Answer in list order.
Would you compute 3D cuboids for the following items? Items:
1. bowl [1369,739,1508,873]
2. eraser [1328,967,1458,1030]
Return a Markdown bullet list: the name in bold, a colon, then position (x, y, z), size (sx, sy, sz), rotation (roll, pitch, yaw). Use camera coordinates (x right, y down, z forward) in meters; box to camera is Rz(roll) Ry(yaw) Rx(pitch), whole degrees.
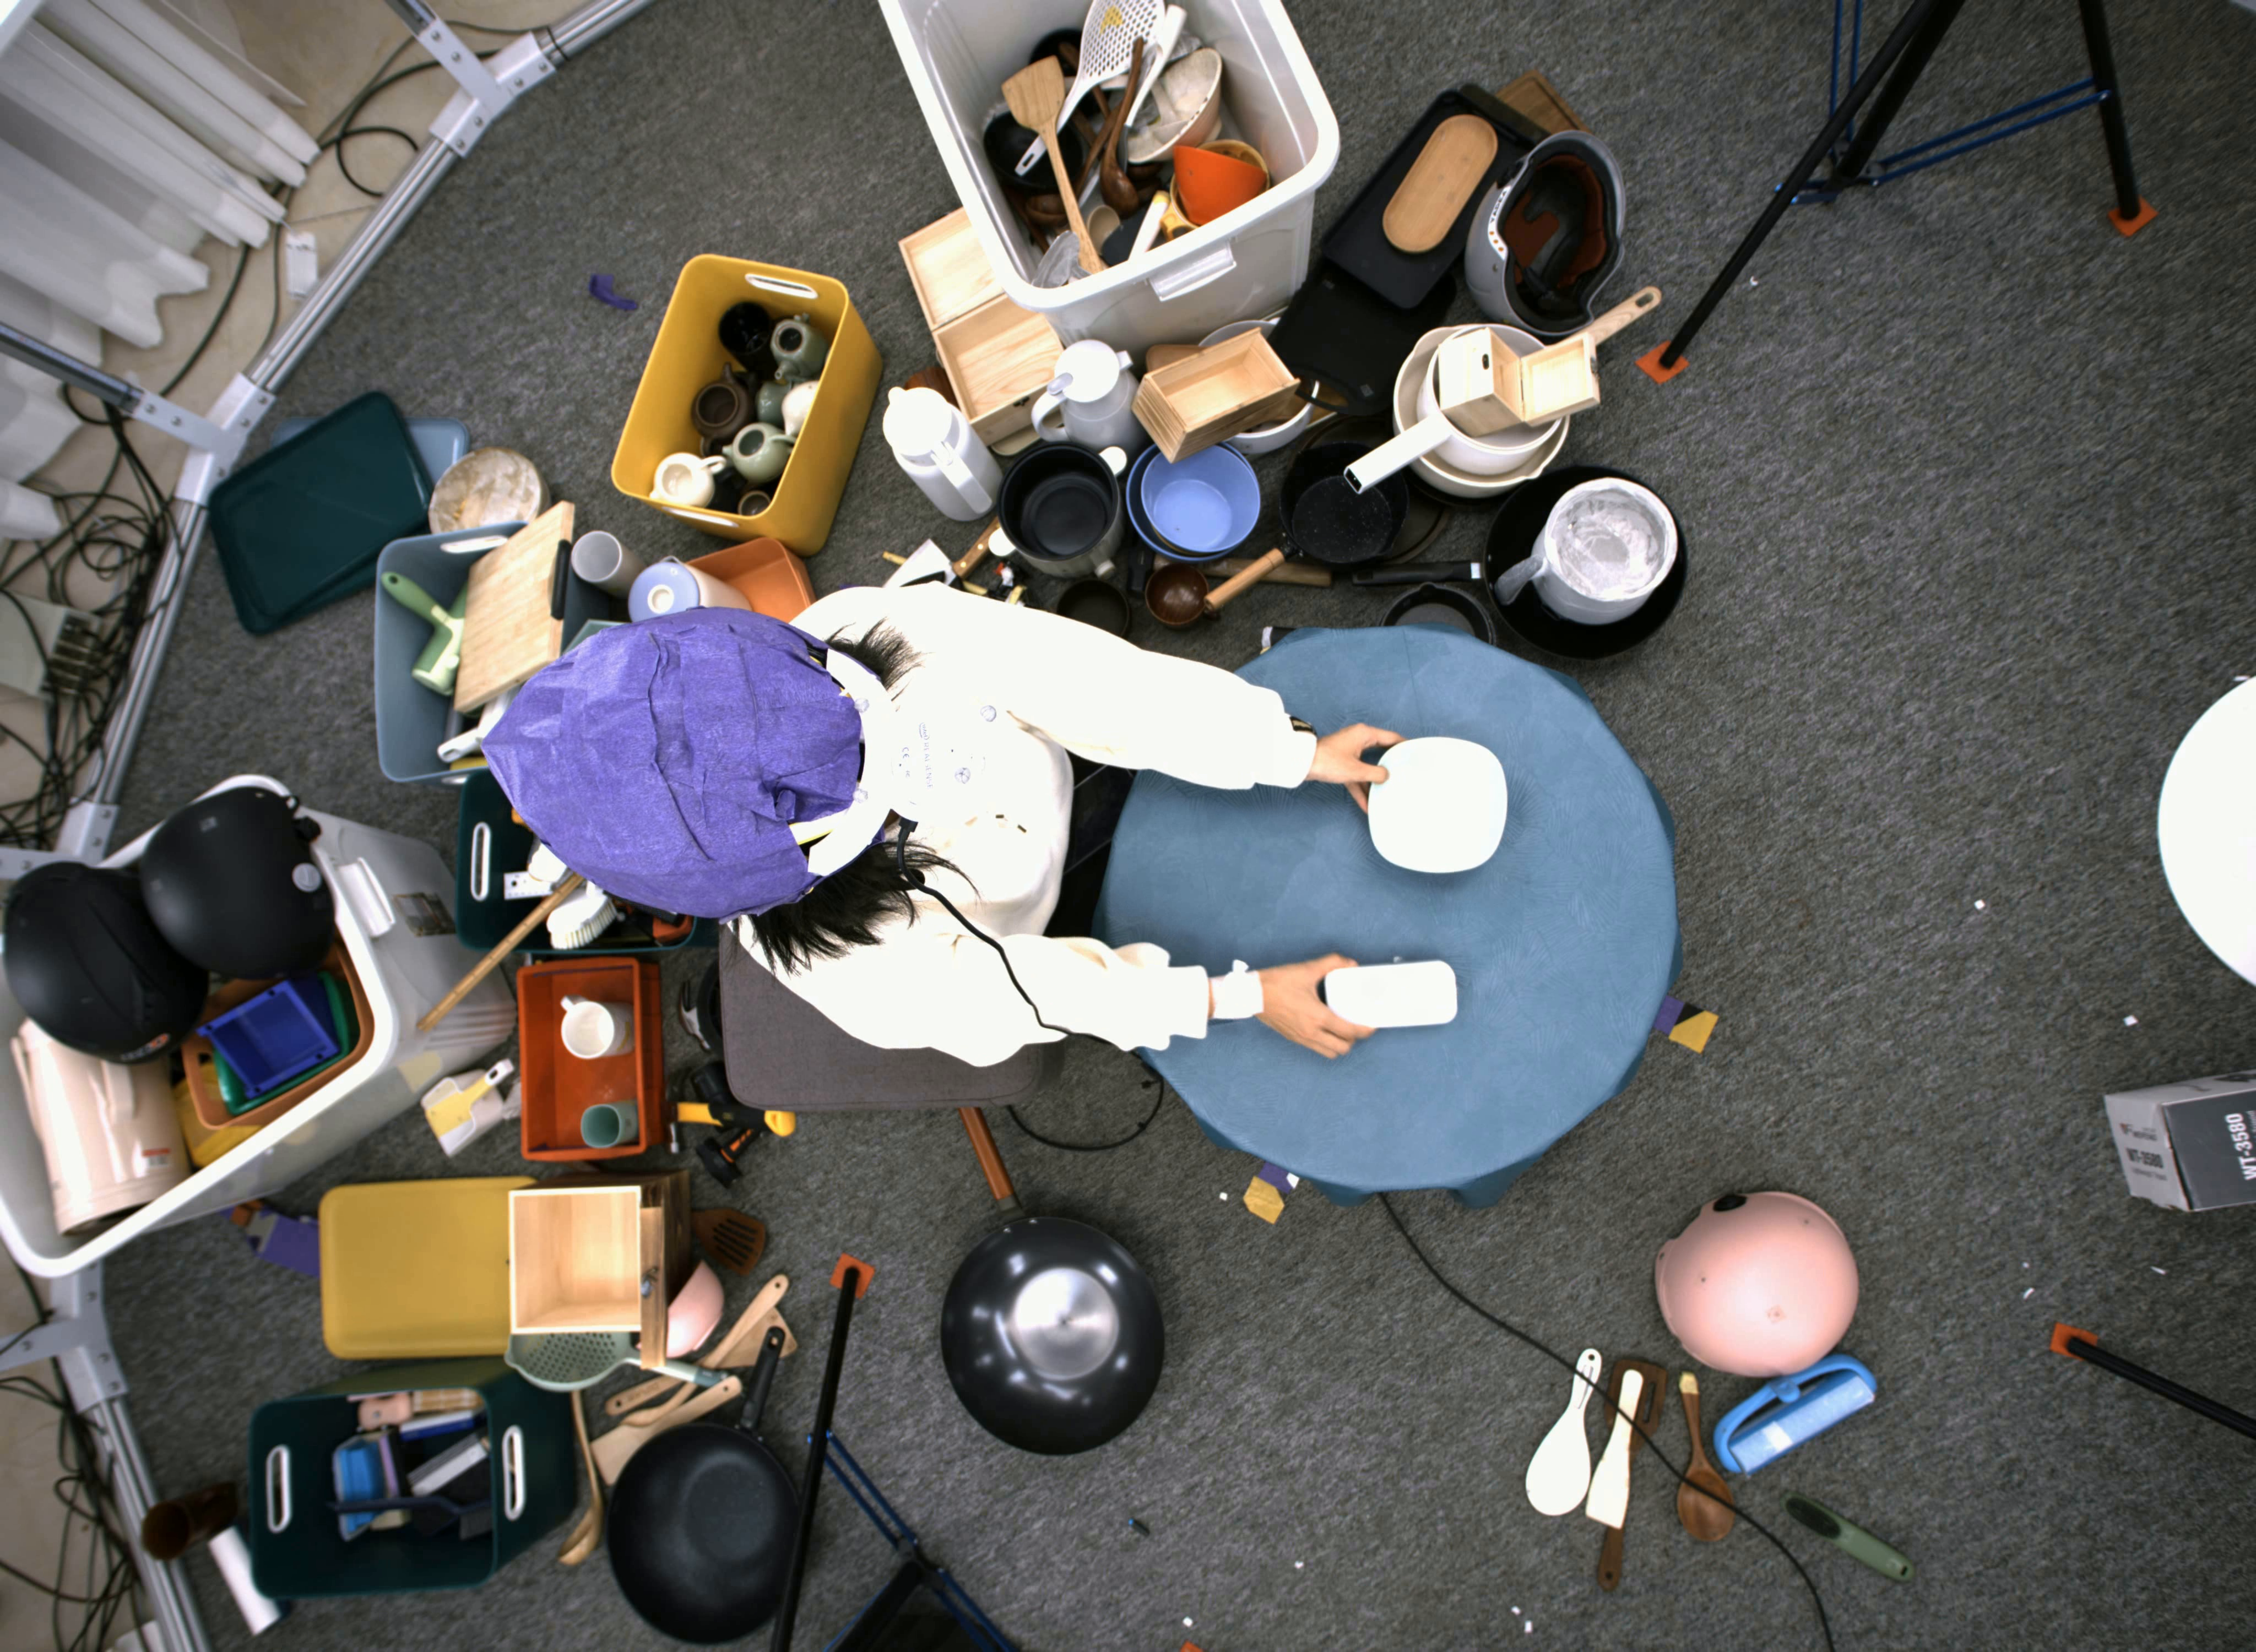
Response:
- **bowl**: position (0.320, -0.017, 1.420), size (0.152, 0.059, 0.150), rotation (-3, 81, 14)
- **eraser**: position (0.273, 0.175, 1.430), size (0.132, 0.034, 0.064), rotation (-3, 97, 8)
